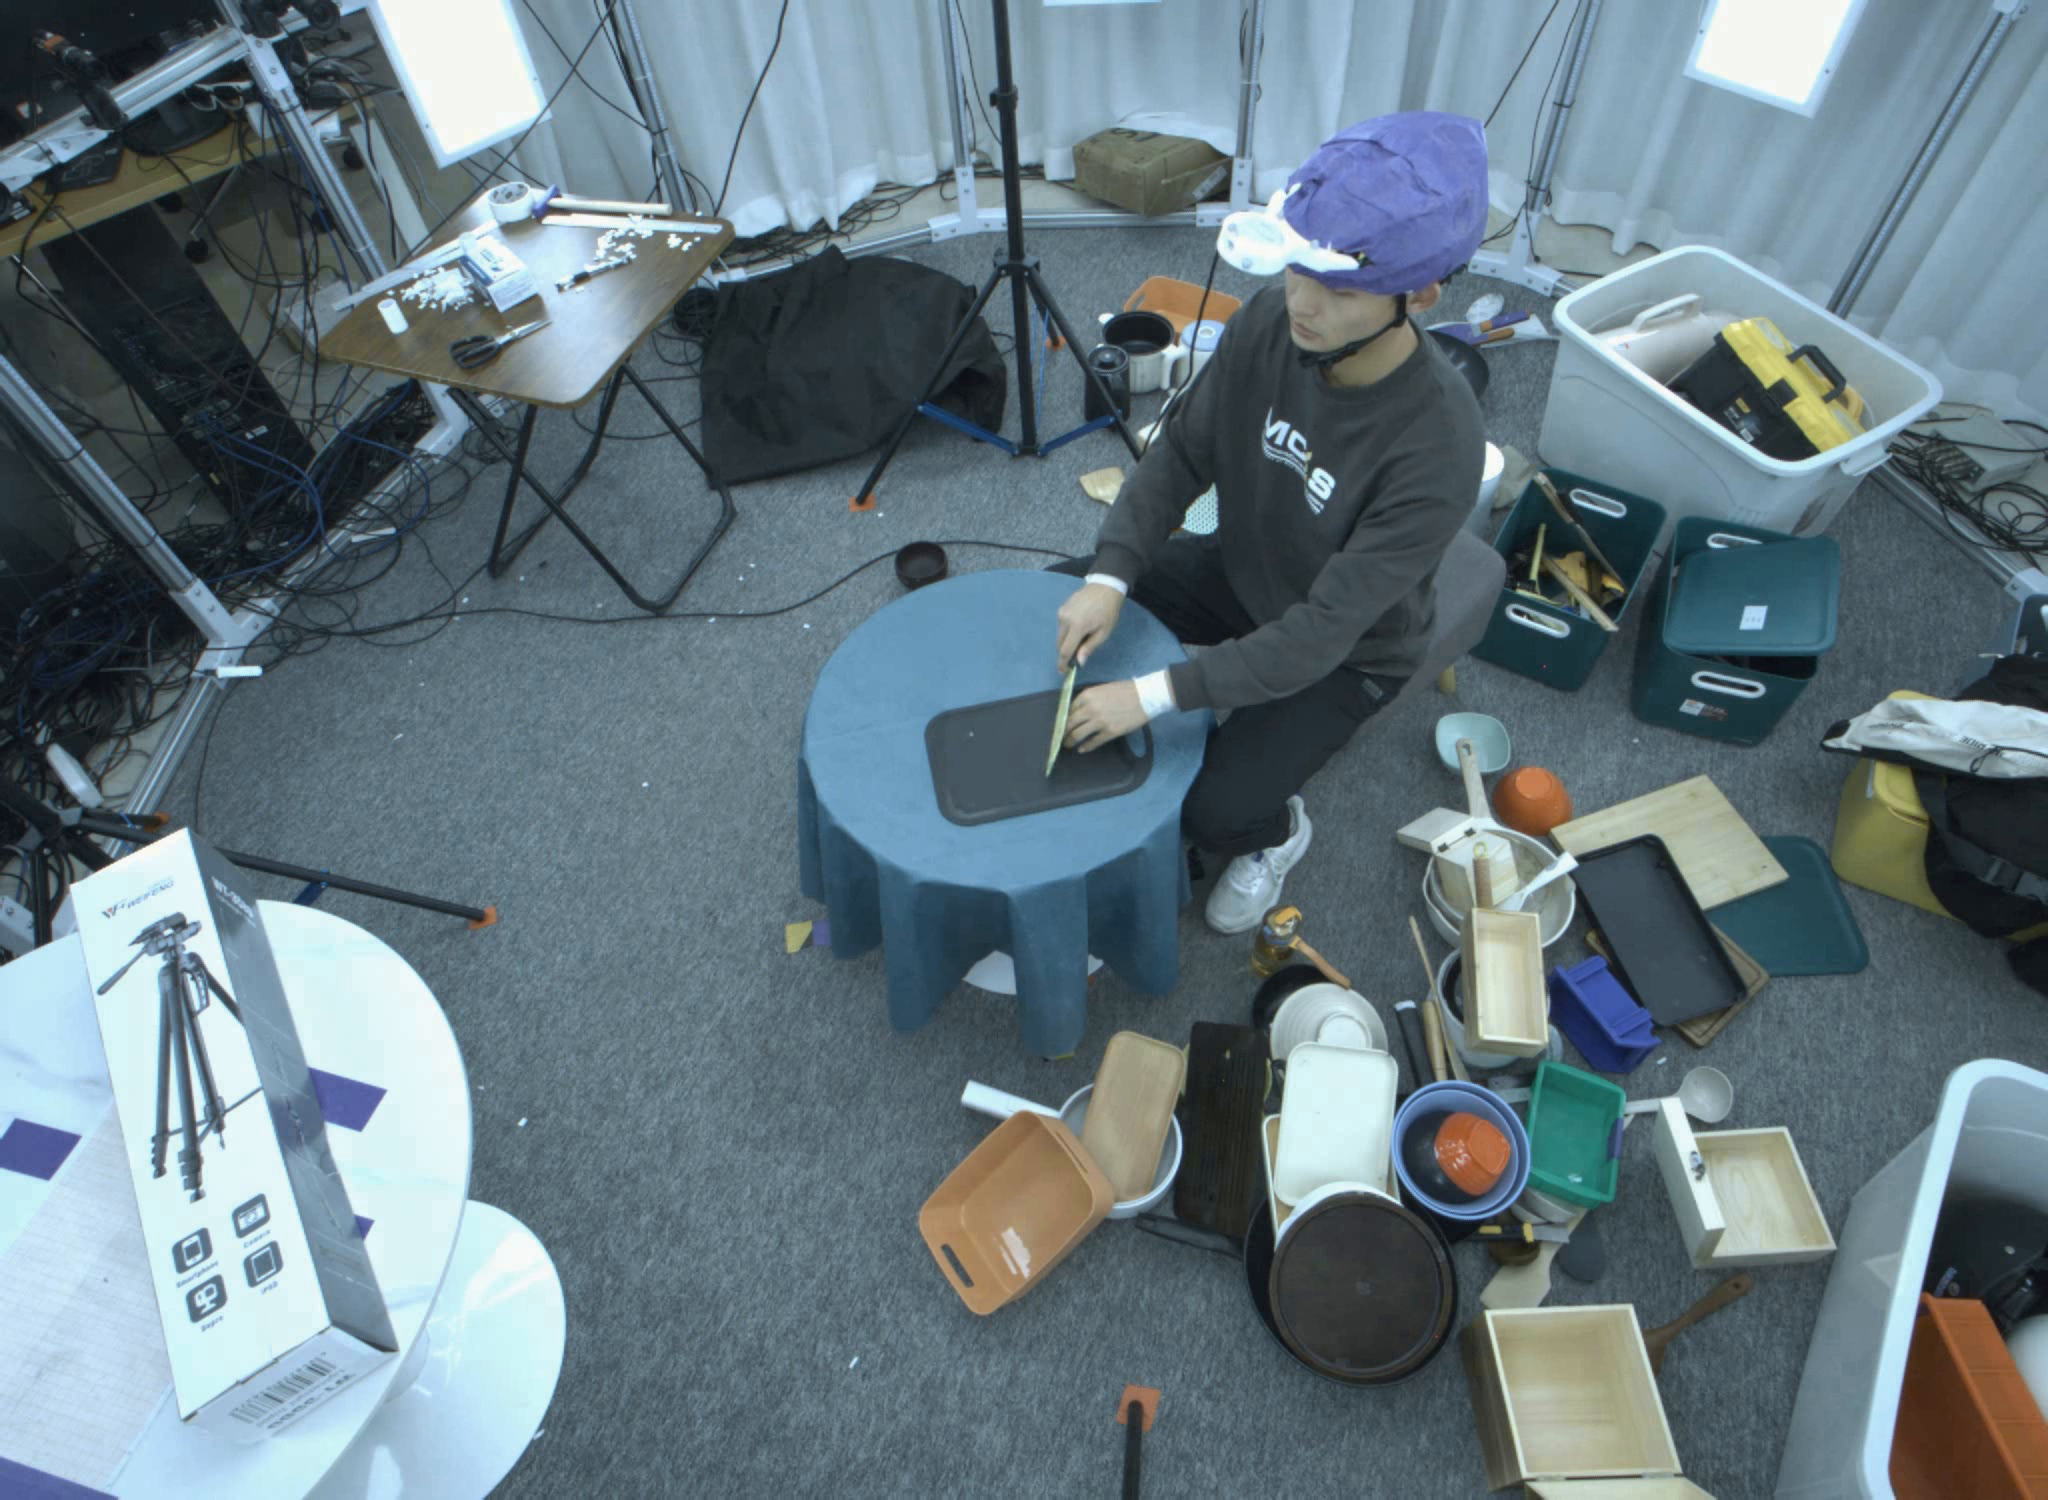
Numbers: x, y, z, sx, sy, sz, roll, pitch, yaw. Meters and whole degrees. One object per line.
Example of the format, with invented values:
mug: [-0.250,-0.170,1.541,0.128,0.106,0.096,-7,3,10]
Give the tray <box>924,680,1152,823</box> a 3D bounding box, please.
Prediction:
tray: [0.023,-0.005,1.793,0.327,0.010,0.208,-11,55,-6]

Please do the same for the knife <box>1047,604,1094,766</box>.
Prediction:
knife: [0.065,-0.097,1.811,0.027,0.081,0.288,19,58,-8]
